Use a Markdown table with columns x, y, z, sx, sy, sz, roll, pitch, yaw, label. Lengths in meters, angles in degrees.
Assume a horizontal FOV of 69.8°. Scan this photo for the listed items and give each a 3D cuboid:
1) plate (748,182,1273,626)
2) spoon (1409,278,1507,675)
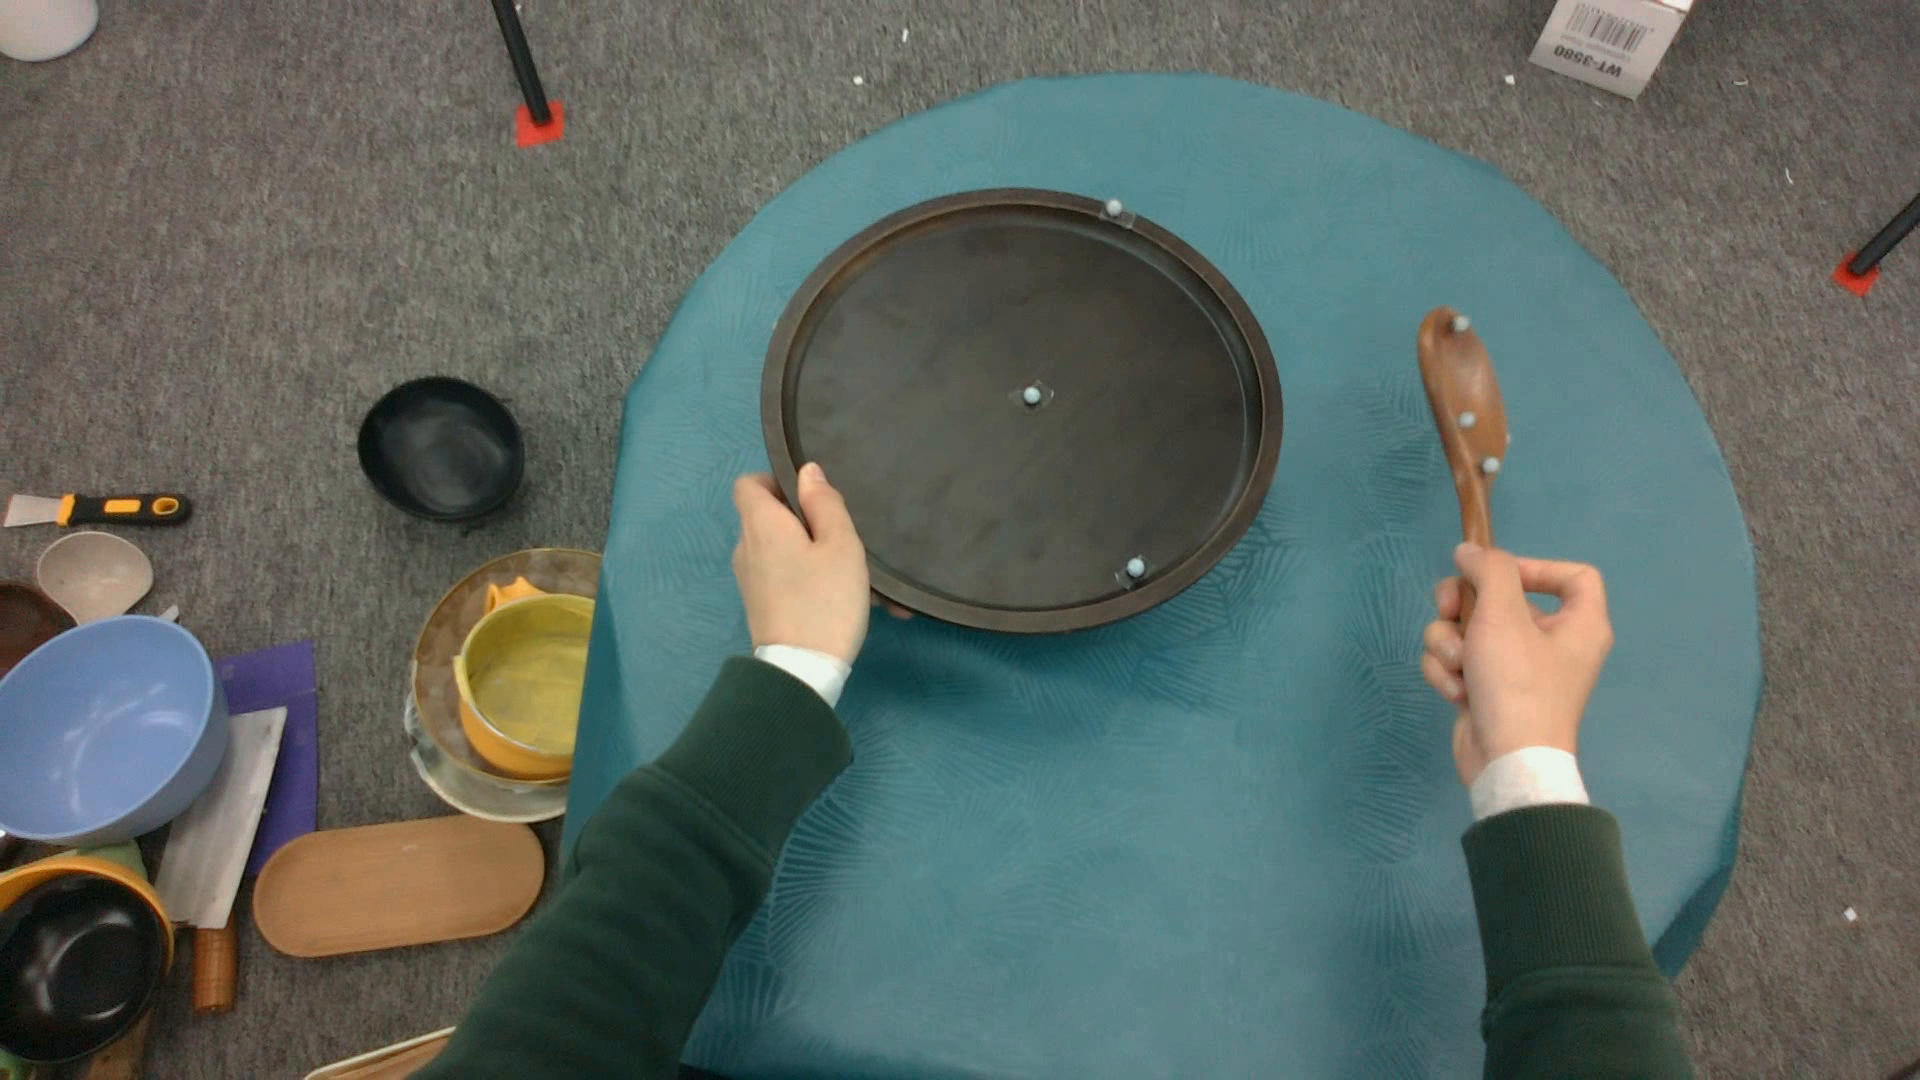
| x | y | z | sx | sy | sz | roll | pitch | yaw | label |
| --- | --- | --- | --- | --- | --- | --- | --- | --- | --- |
| 0.024 | -0.072 | 0.672 | 0.255 | 0.029 | 0.256 | 1 | 61 | -1 | plate |
| 0.235 | -0.035 | 0.647 | 0.075 | 0.017 | 0.217 | 33 | 49 | -34 | spoon |
